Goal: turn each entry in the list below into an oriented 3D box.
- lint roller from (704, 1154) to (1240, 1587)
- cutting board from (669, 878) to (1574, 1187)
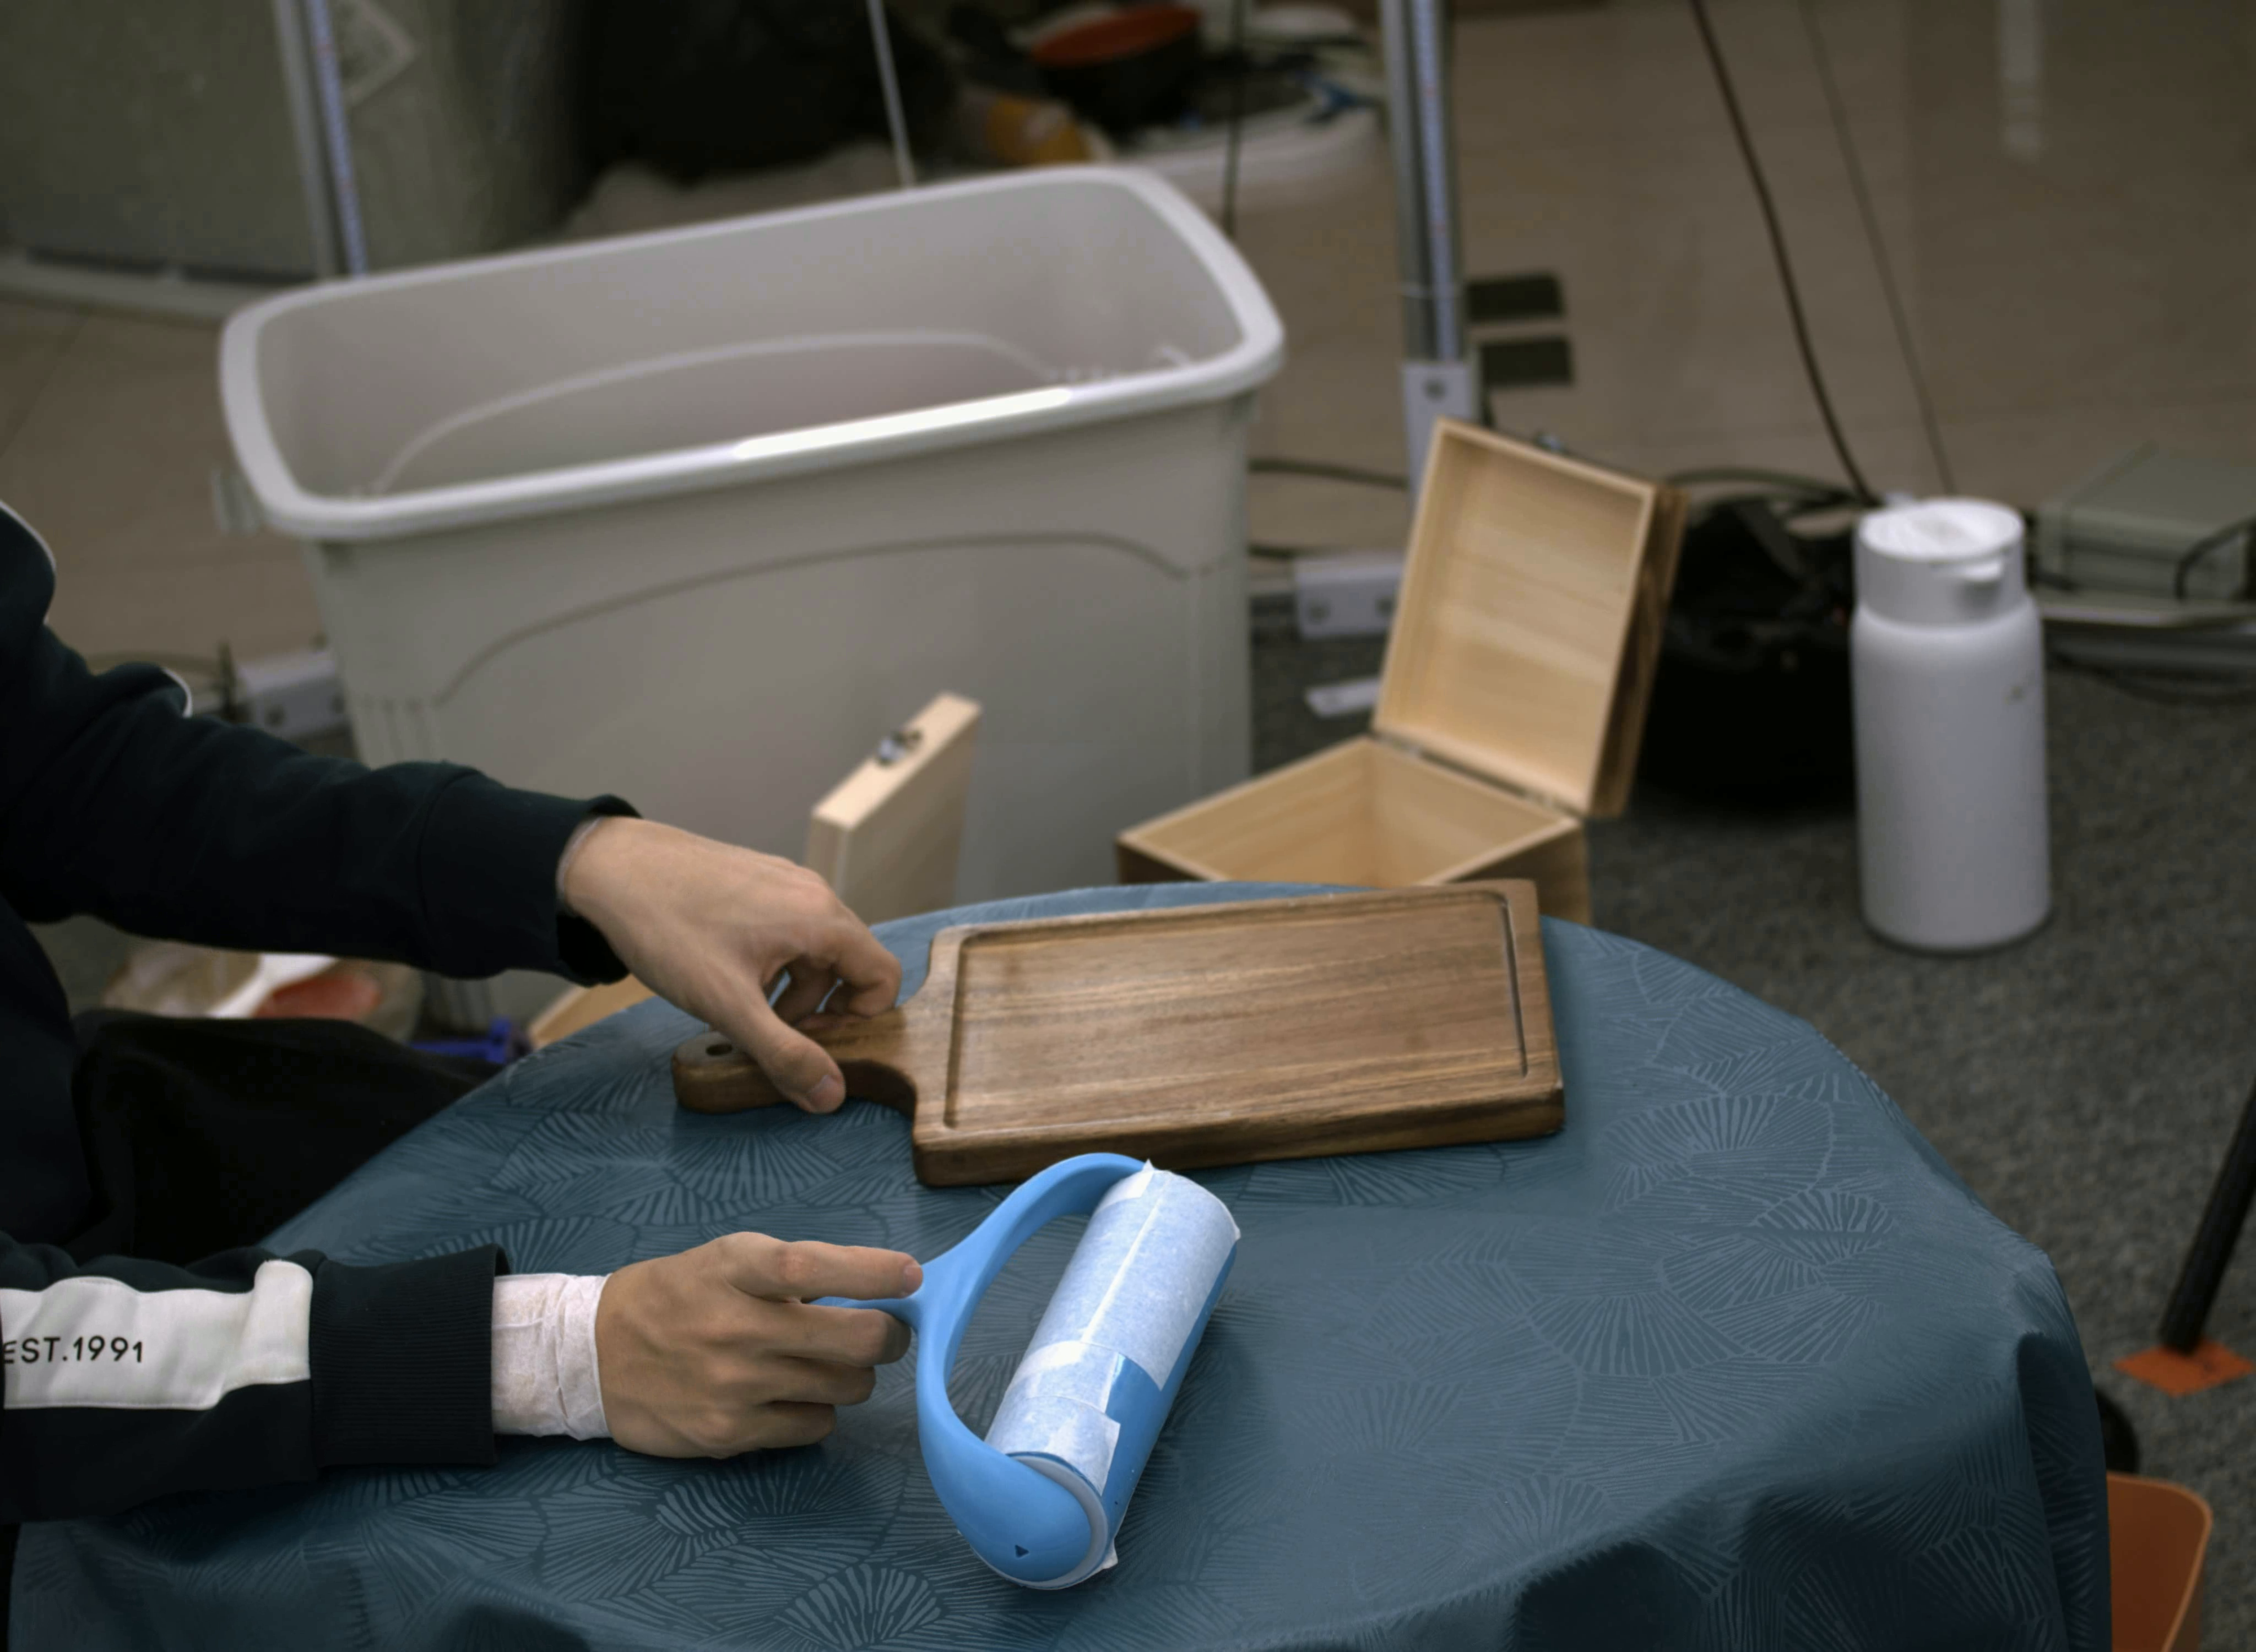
[{"bbox_3d":[-0.065,0.188,1.985,0.180,0.069,0.225,1,28,12],"label":"lint roller"},{"bbox_3d":[-0.006,0.083,2.238,0.351,0.023,0.198,-5,24,2],"label":"cutting board"}]
